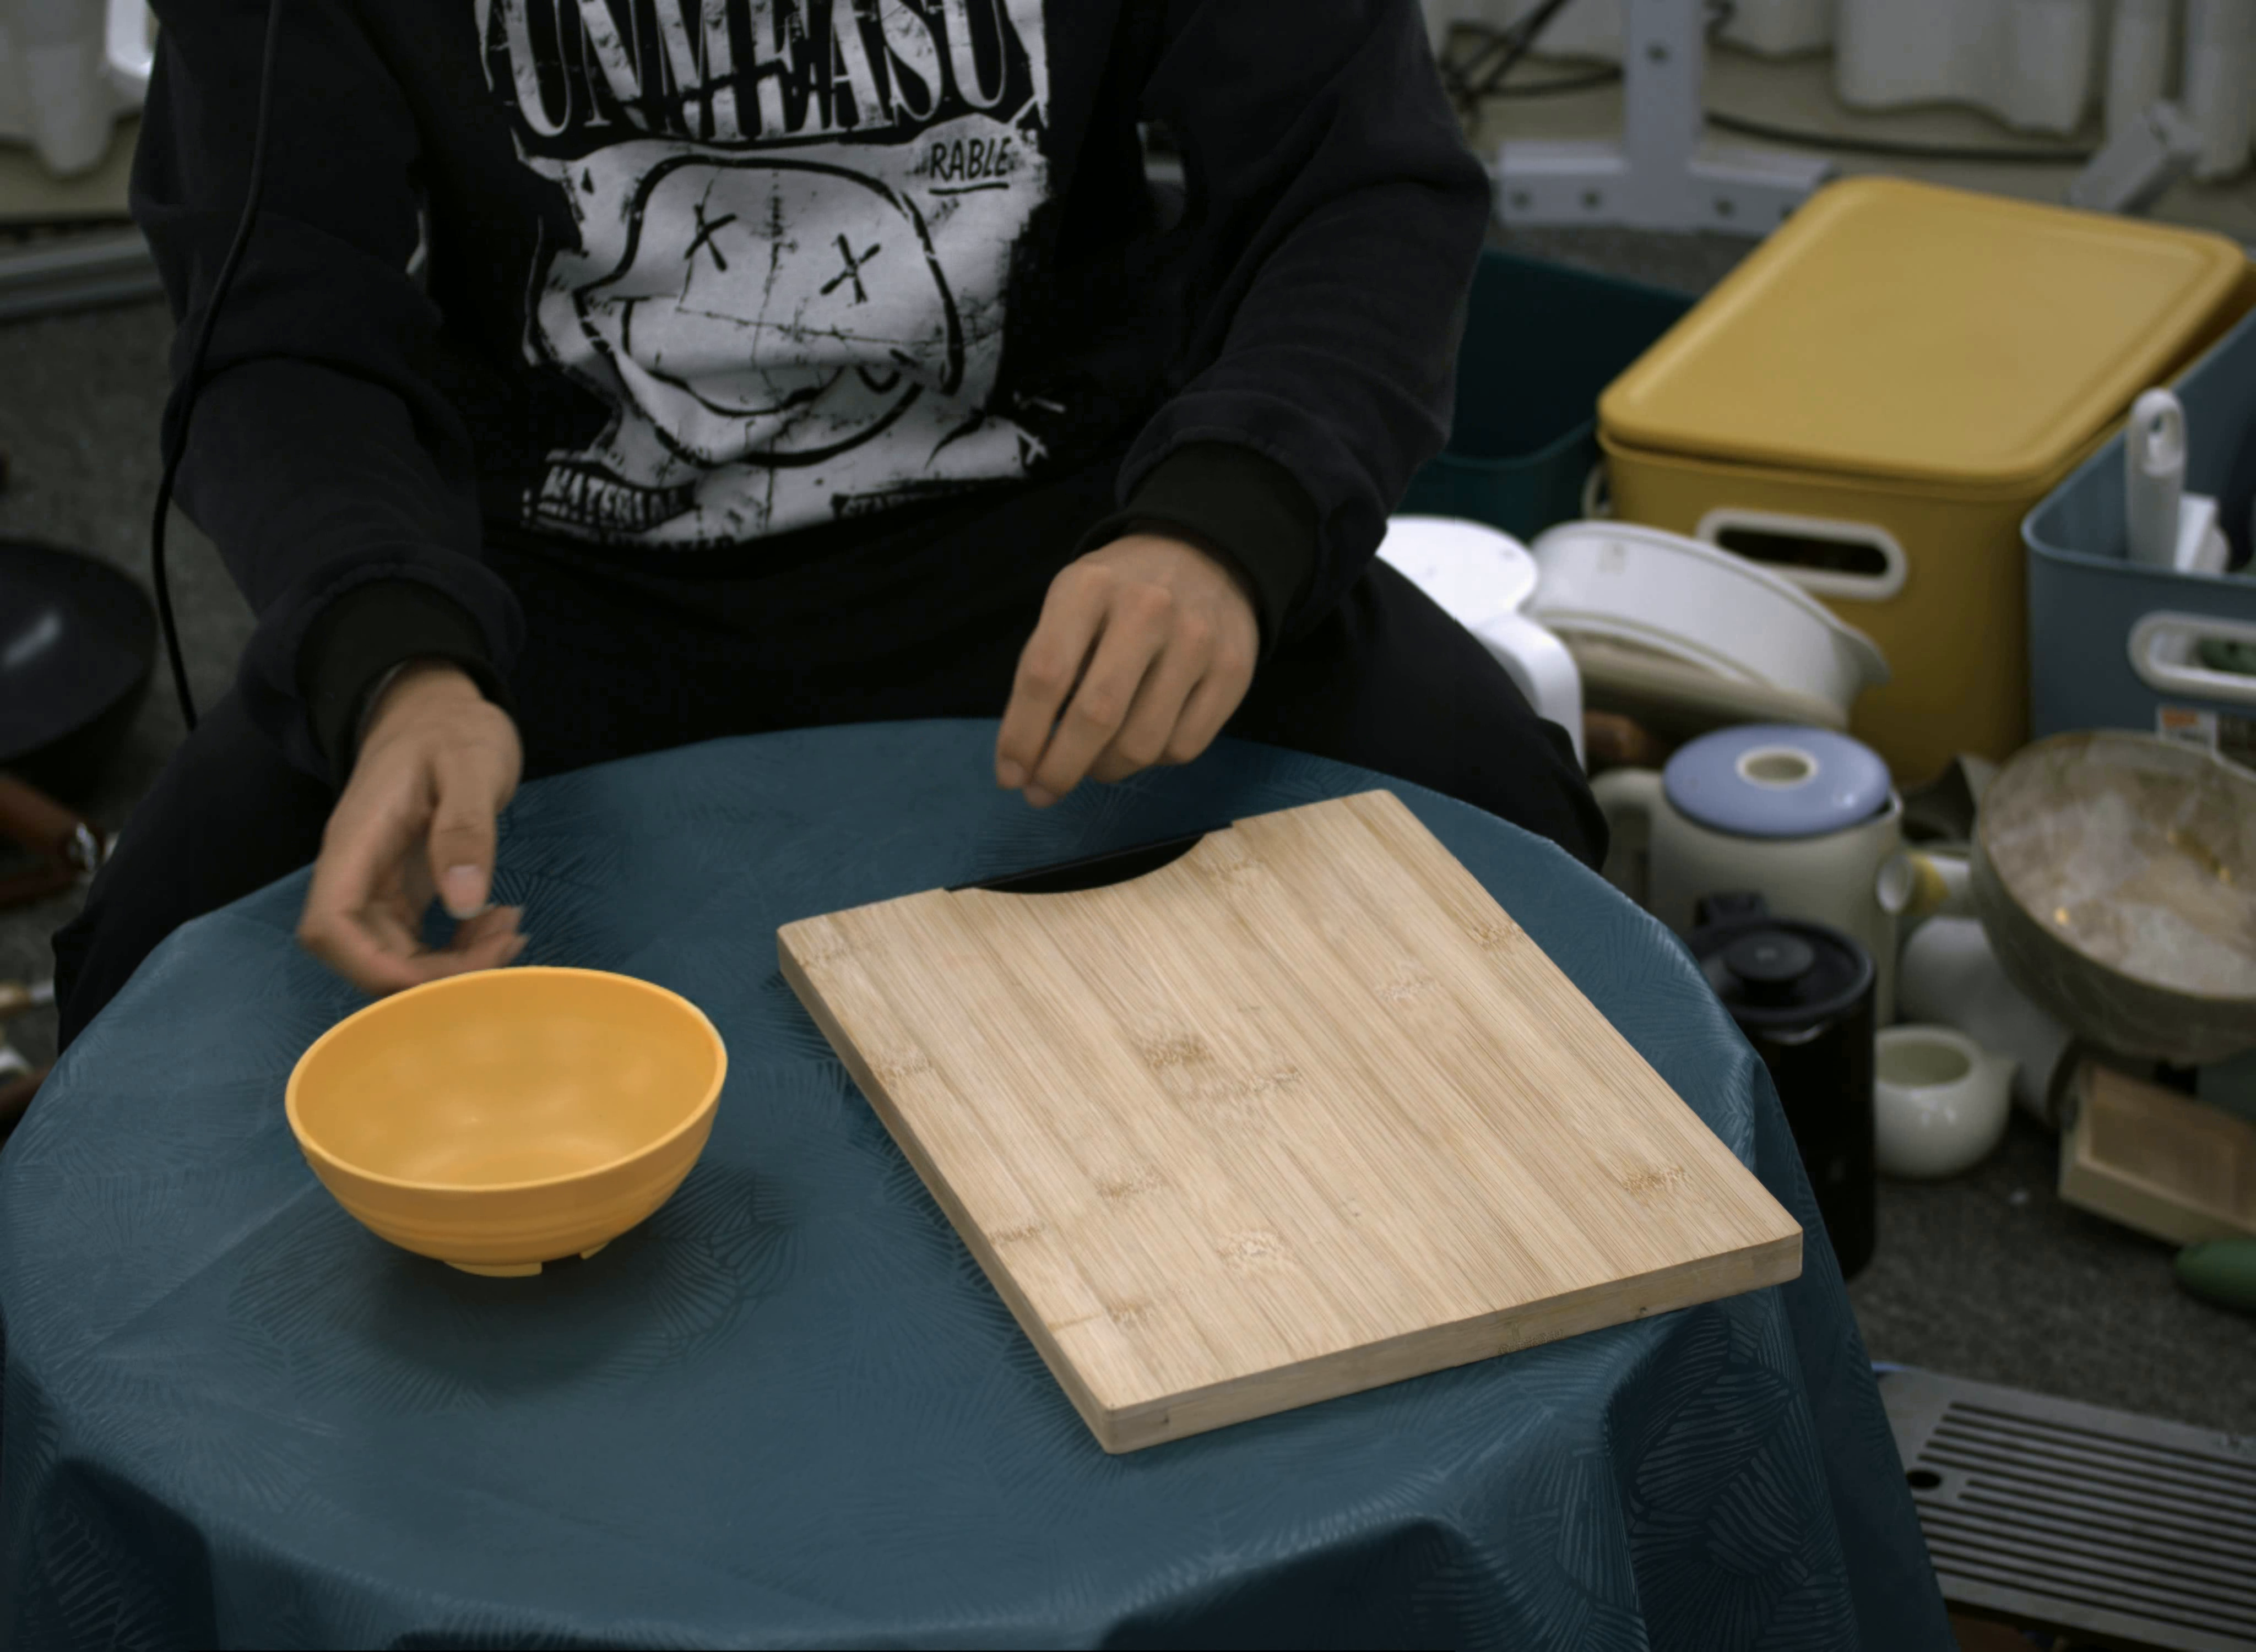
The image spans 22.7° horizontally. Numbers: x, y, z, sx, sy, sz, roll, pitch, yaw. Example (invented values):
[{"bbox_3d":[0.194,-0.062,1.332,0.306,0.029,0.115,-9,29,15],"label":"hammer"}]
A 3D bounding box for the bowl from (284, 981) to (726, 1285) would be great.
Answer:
[{"bbox_3d":[-0.203,0.109,1.846,0.144,0.059,0.147,0,25,1],"label":"bowl"}]

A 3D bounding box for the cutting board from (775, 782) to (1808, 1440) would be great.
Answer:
[{"bbox_3d":[0.045,0.089,1.903,0.251,0.023,0.351,-13,29,-18],"label":"cutting board"}]
